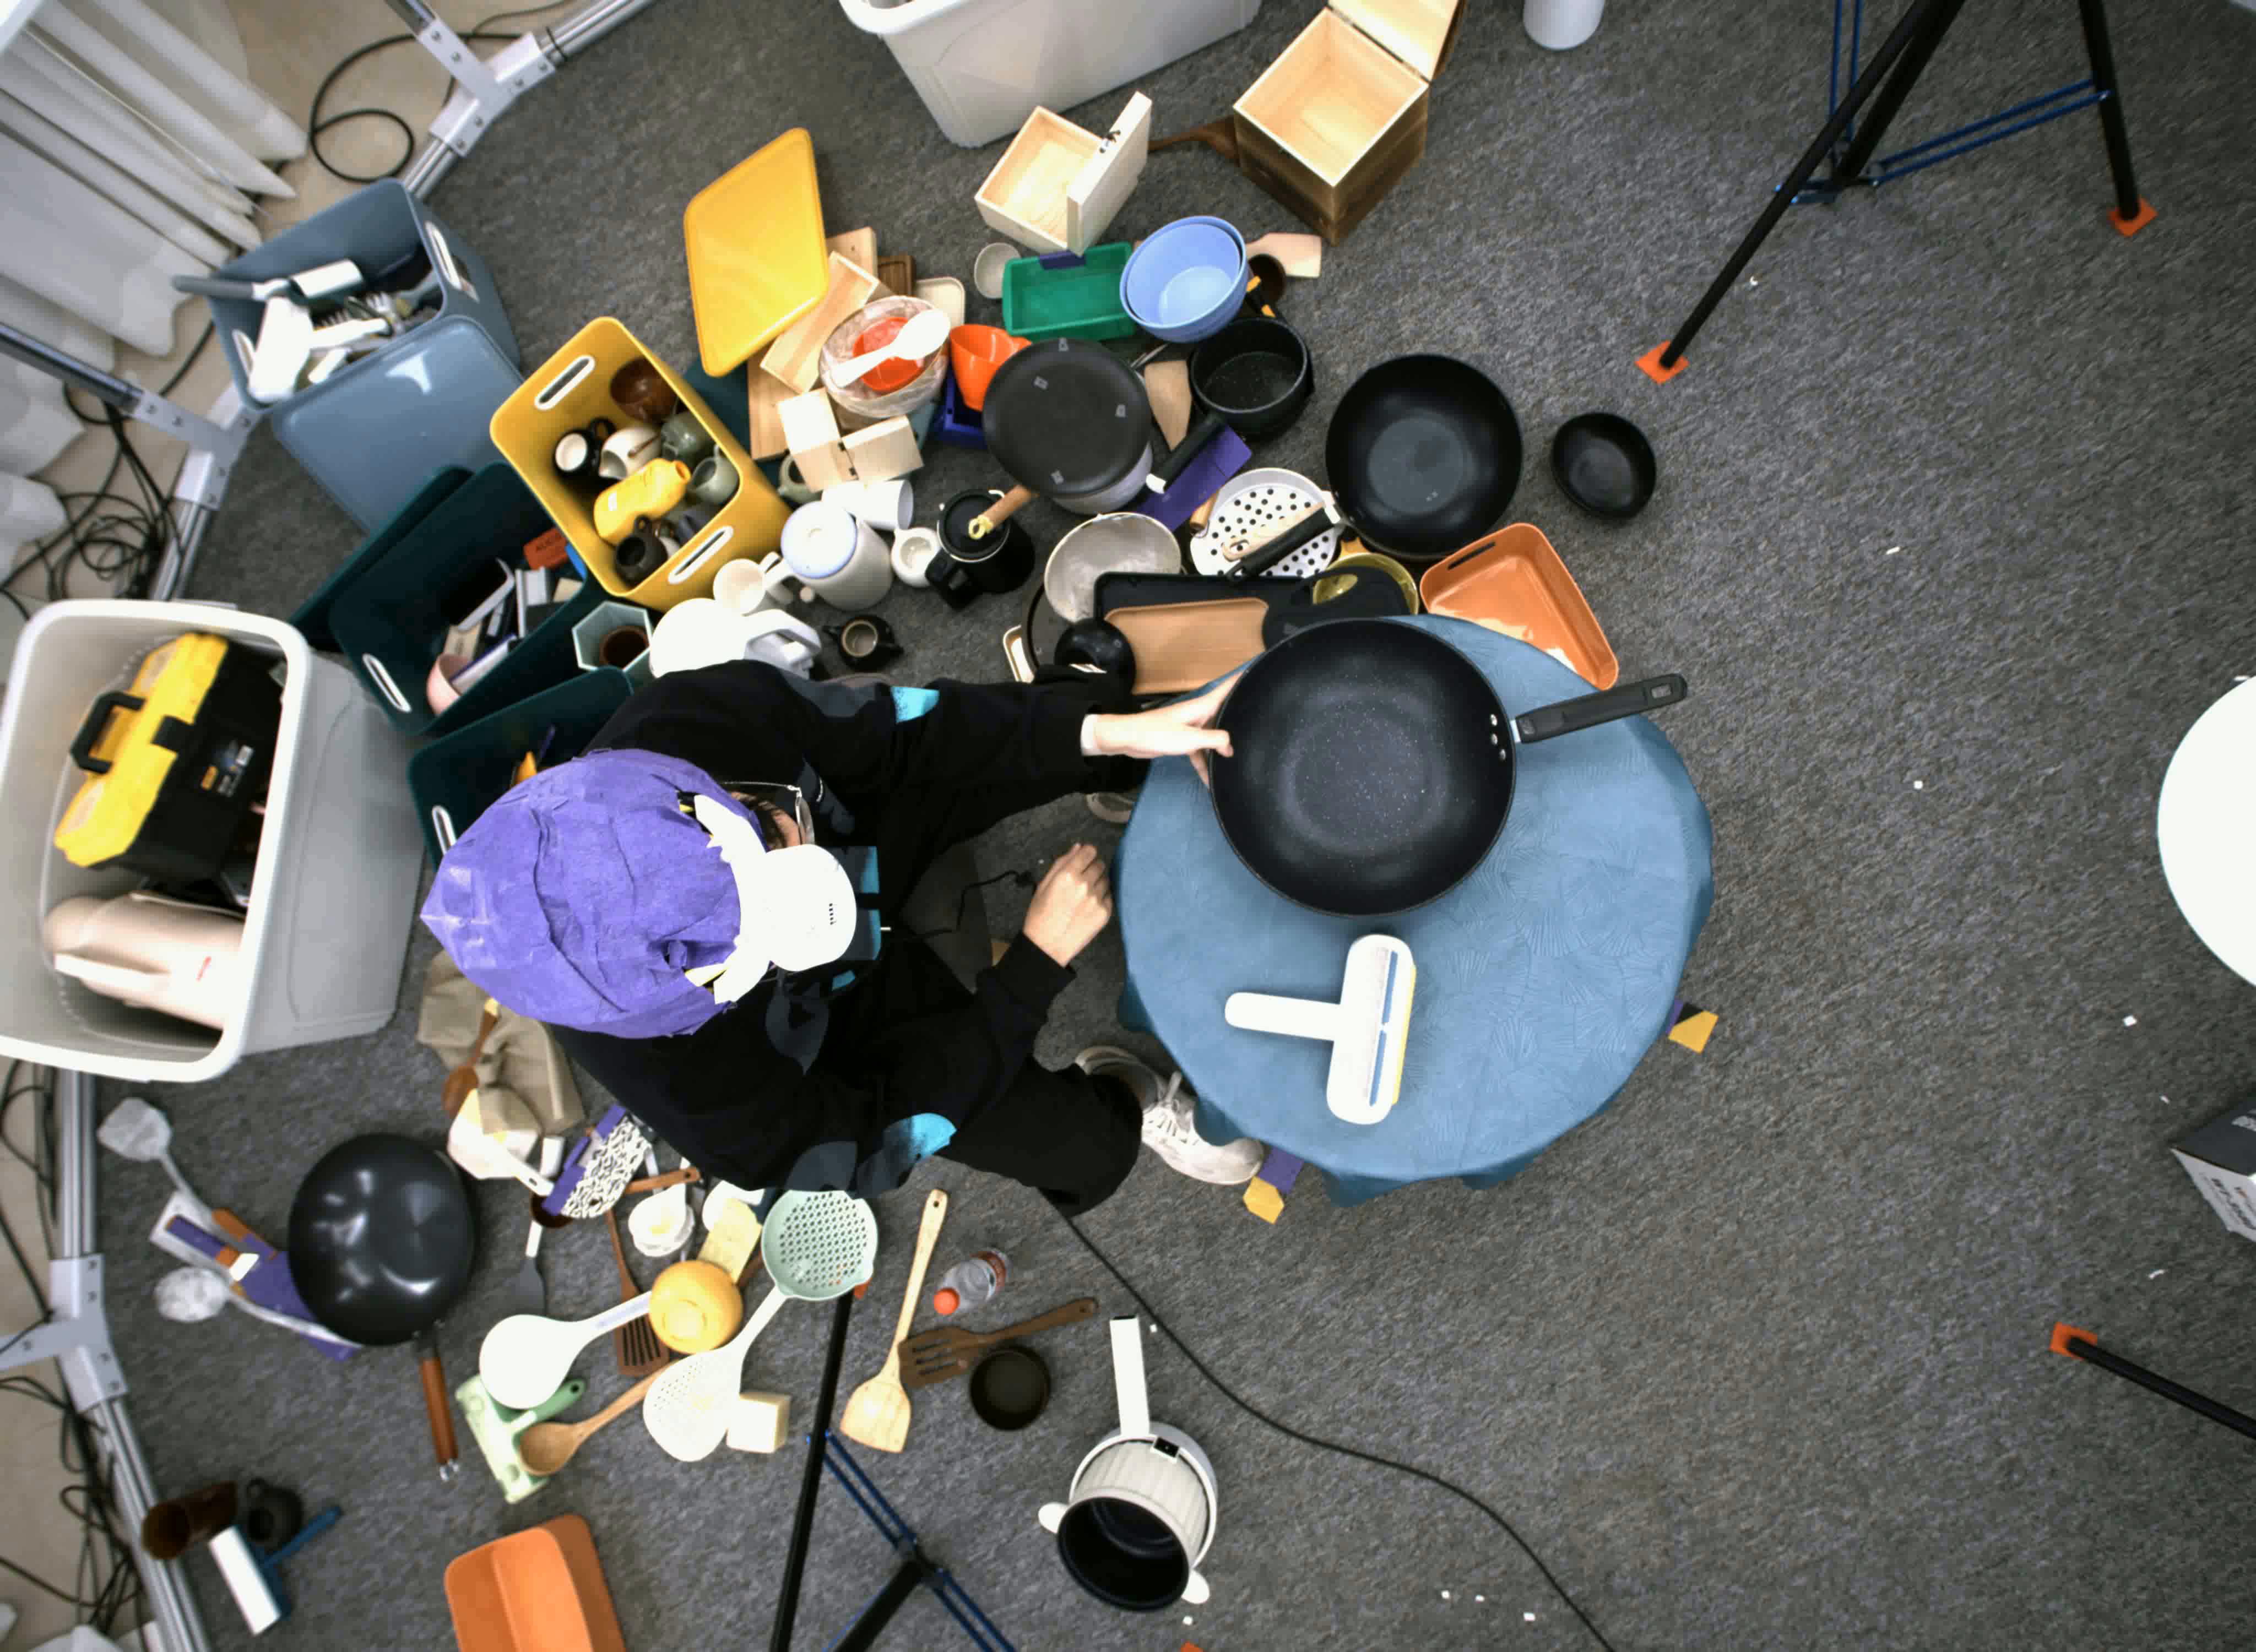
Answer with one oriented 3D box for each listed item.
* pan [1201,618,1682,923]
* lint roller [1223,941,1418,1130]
[{"bbox_3d":[0.312,-0.076,1.401,0.479,0.111,0.309,-14,86,9],"label":"pan"},{"bbox_3d":[0.190,0.201,1.429,0.193,0.074,0.191,12,84,12],"label":"lint roller"}]
